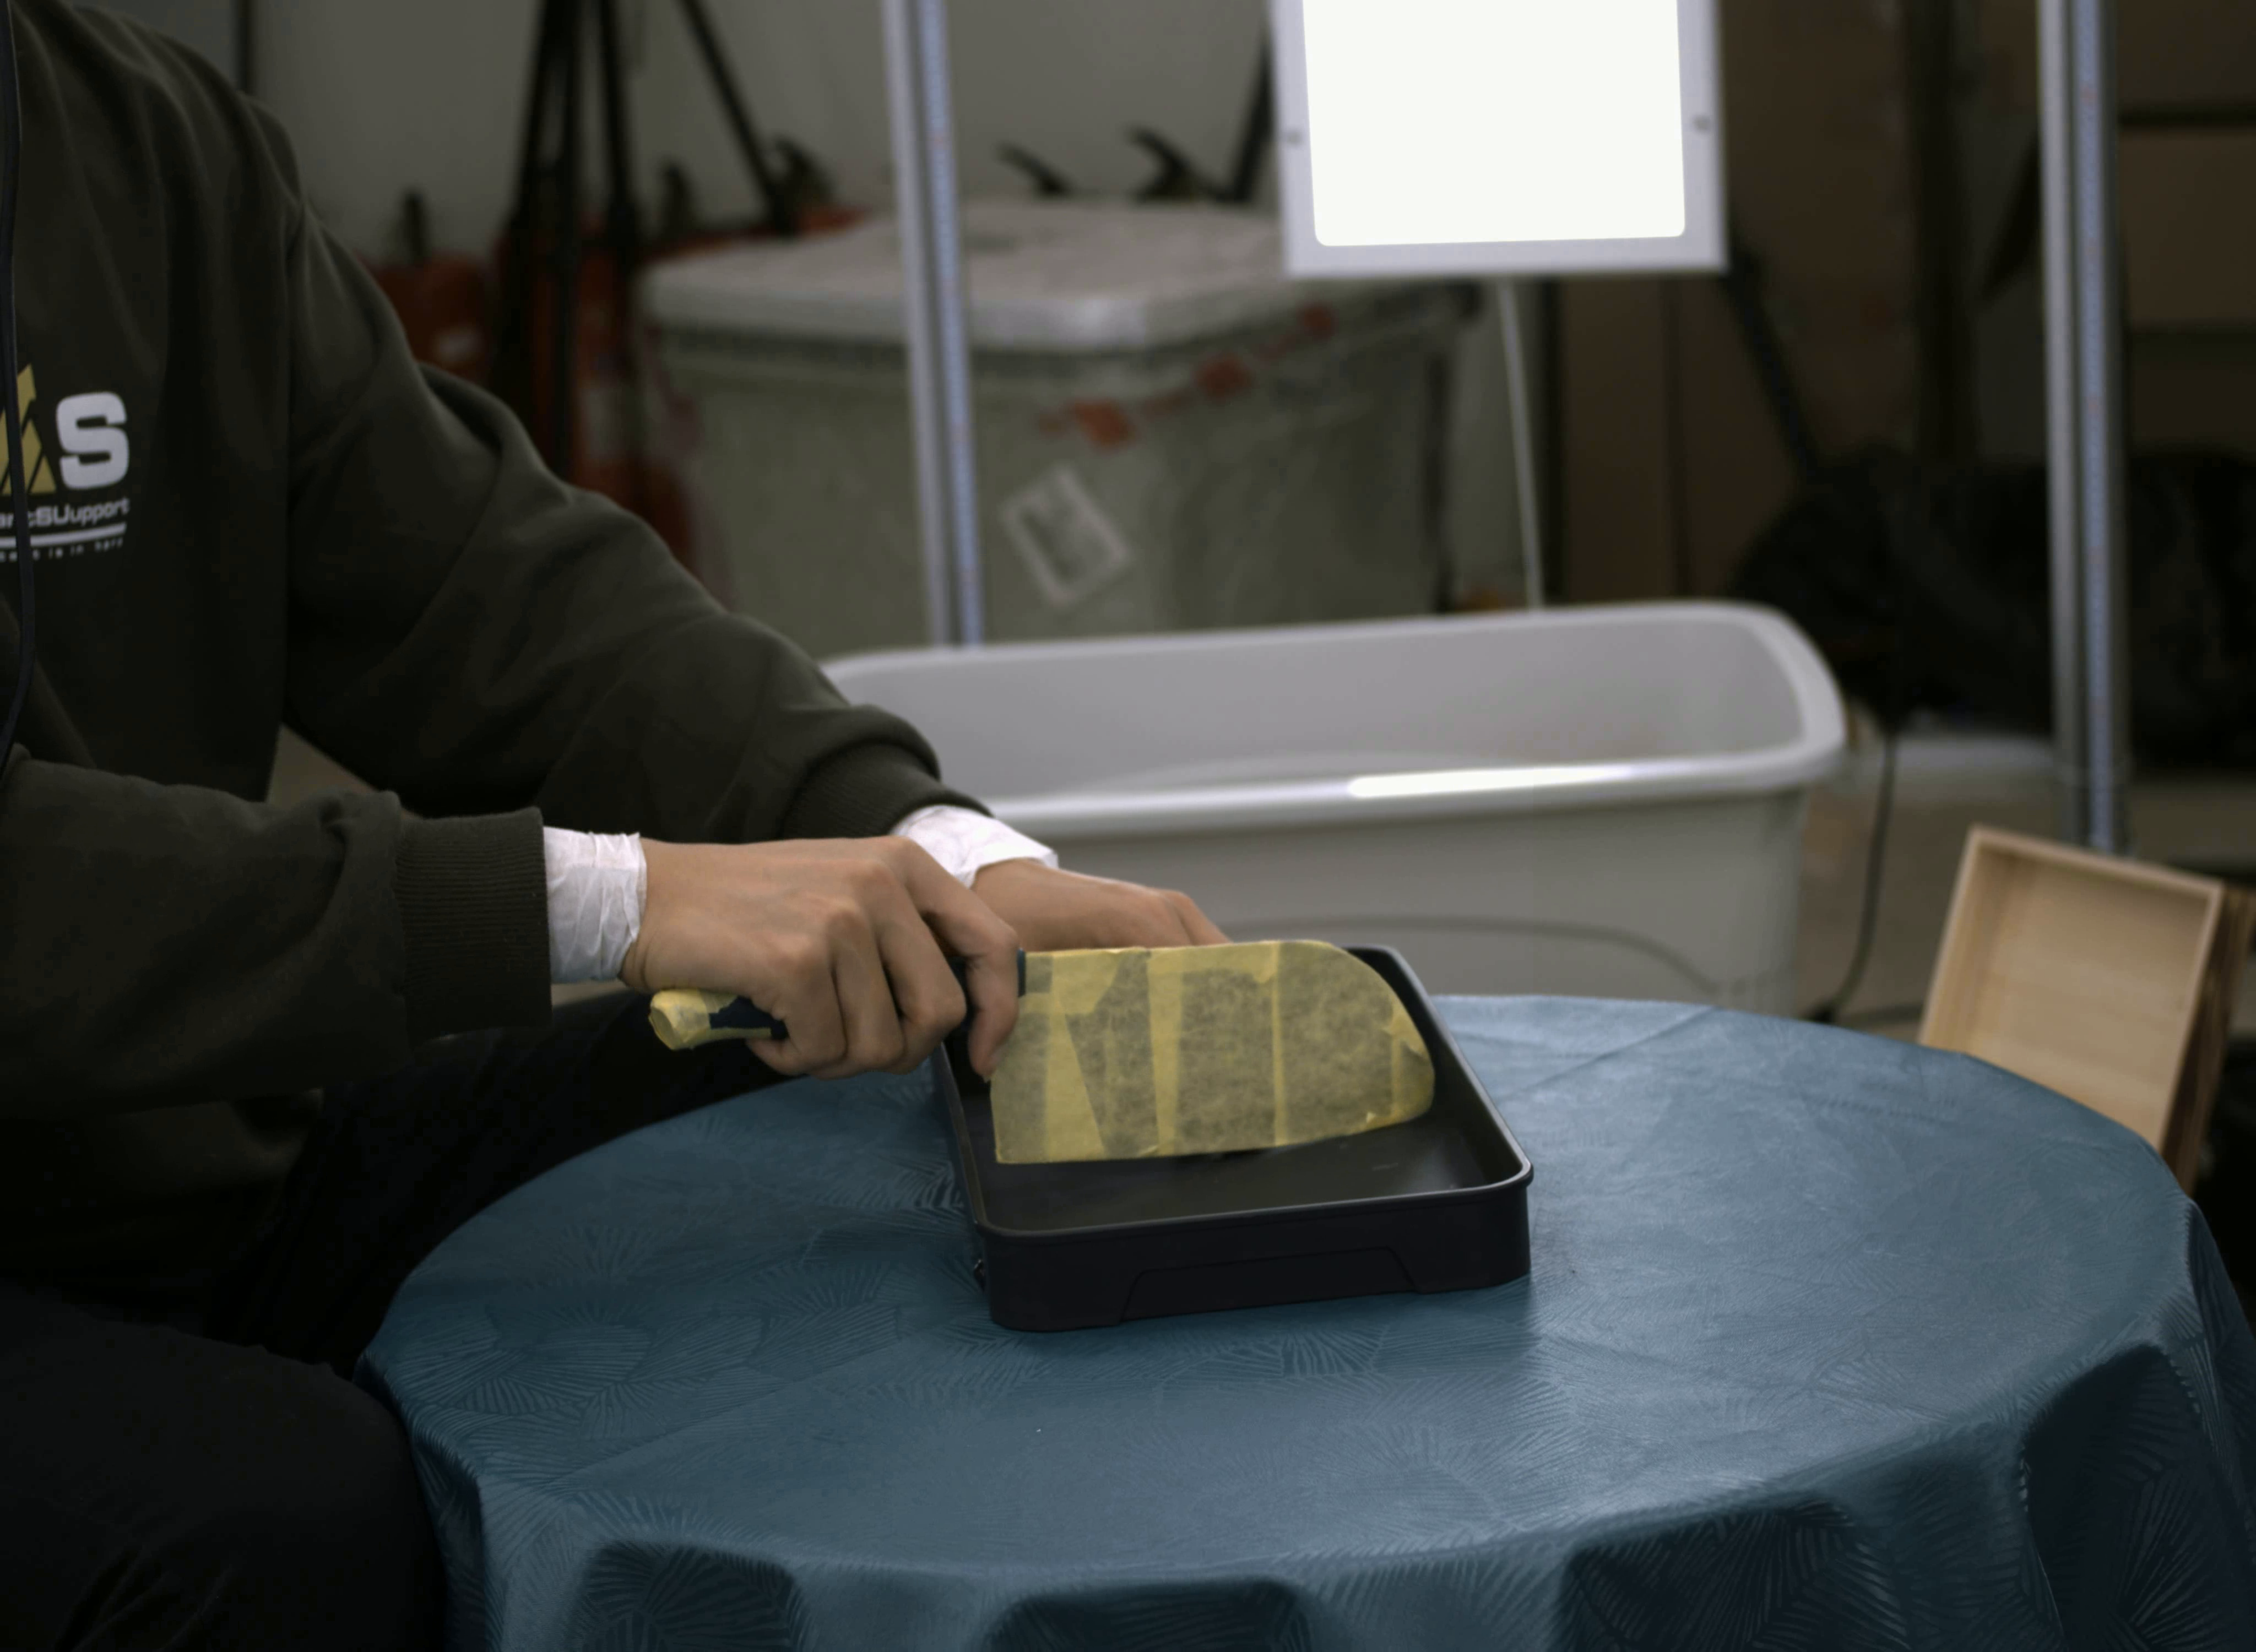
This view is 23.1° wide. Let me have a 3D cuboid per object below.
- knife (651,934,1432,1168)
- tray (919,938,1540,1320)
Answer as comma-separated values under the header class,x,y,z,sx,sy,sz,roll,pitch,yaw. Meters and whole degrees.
class,x,y,z,sx,sy,sz,roll,pitch,yaw
knife,-0.025,0.077,1.896,0.284,0.081,0.027,1,-3,-18
tray,0.028,0.101,1.918,0.183,0.037,0.319,-6,13,-5
